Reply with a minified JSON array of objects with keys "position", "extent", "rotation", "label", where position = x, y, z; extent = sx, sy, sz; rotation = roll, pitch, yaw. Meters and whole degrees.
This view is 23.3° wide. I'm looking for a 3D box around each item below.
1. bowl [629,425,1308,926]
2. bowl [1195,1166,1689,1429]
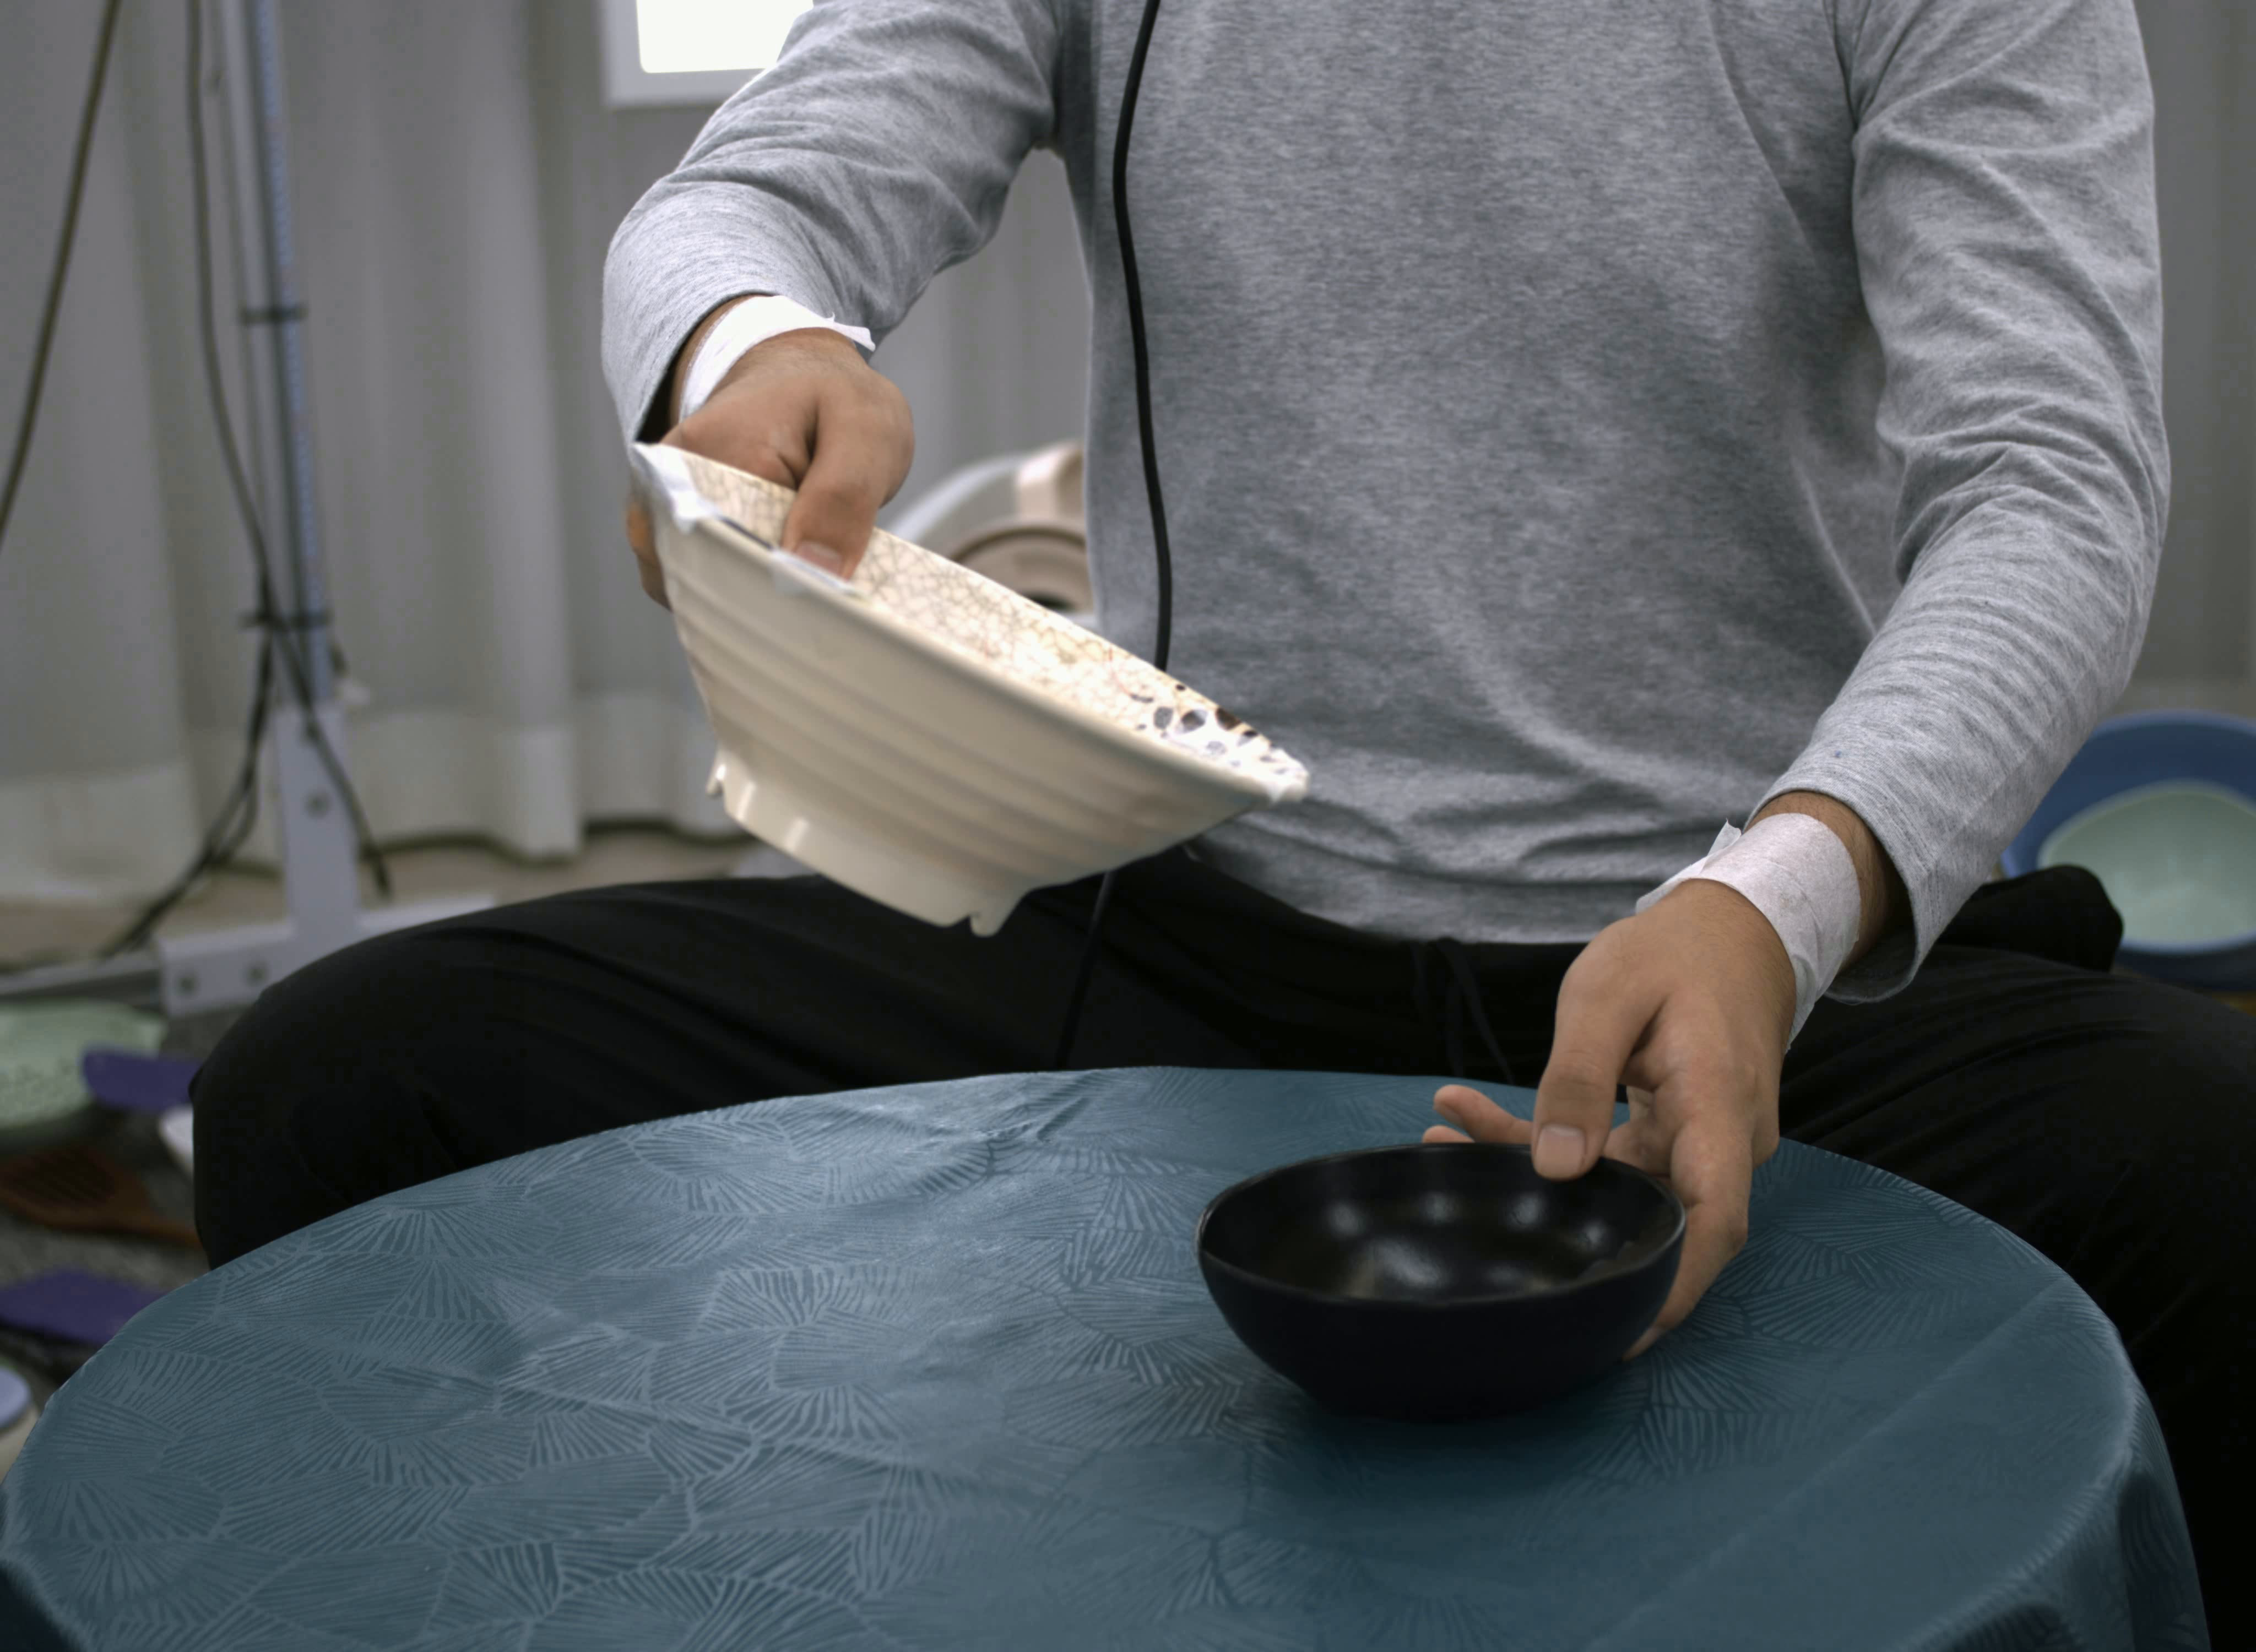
[{"position":[-0.058,-0.027,1.468],"extent":[0.203,0.078,0.205],"rotation":[27,7,-4],"label":"bowl"},{"position":[0.088,0.136,1.537],"extent":[0.139,0.049,0.140],"rotation":[-1,10,0],"label":"bowl"}]
